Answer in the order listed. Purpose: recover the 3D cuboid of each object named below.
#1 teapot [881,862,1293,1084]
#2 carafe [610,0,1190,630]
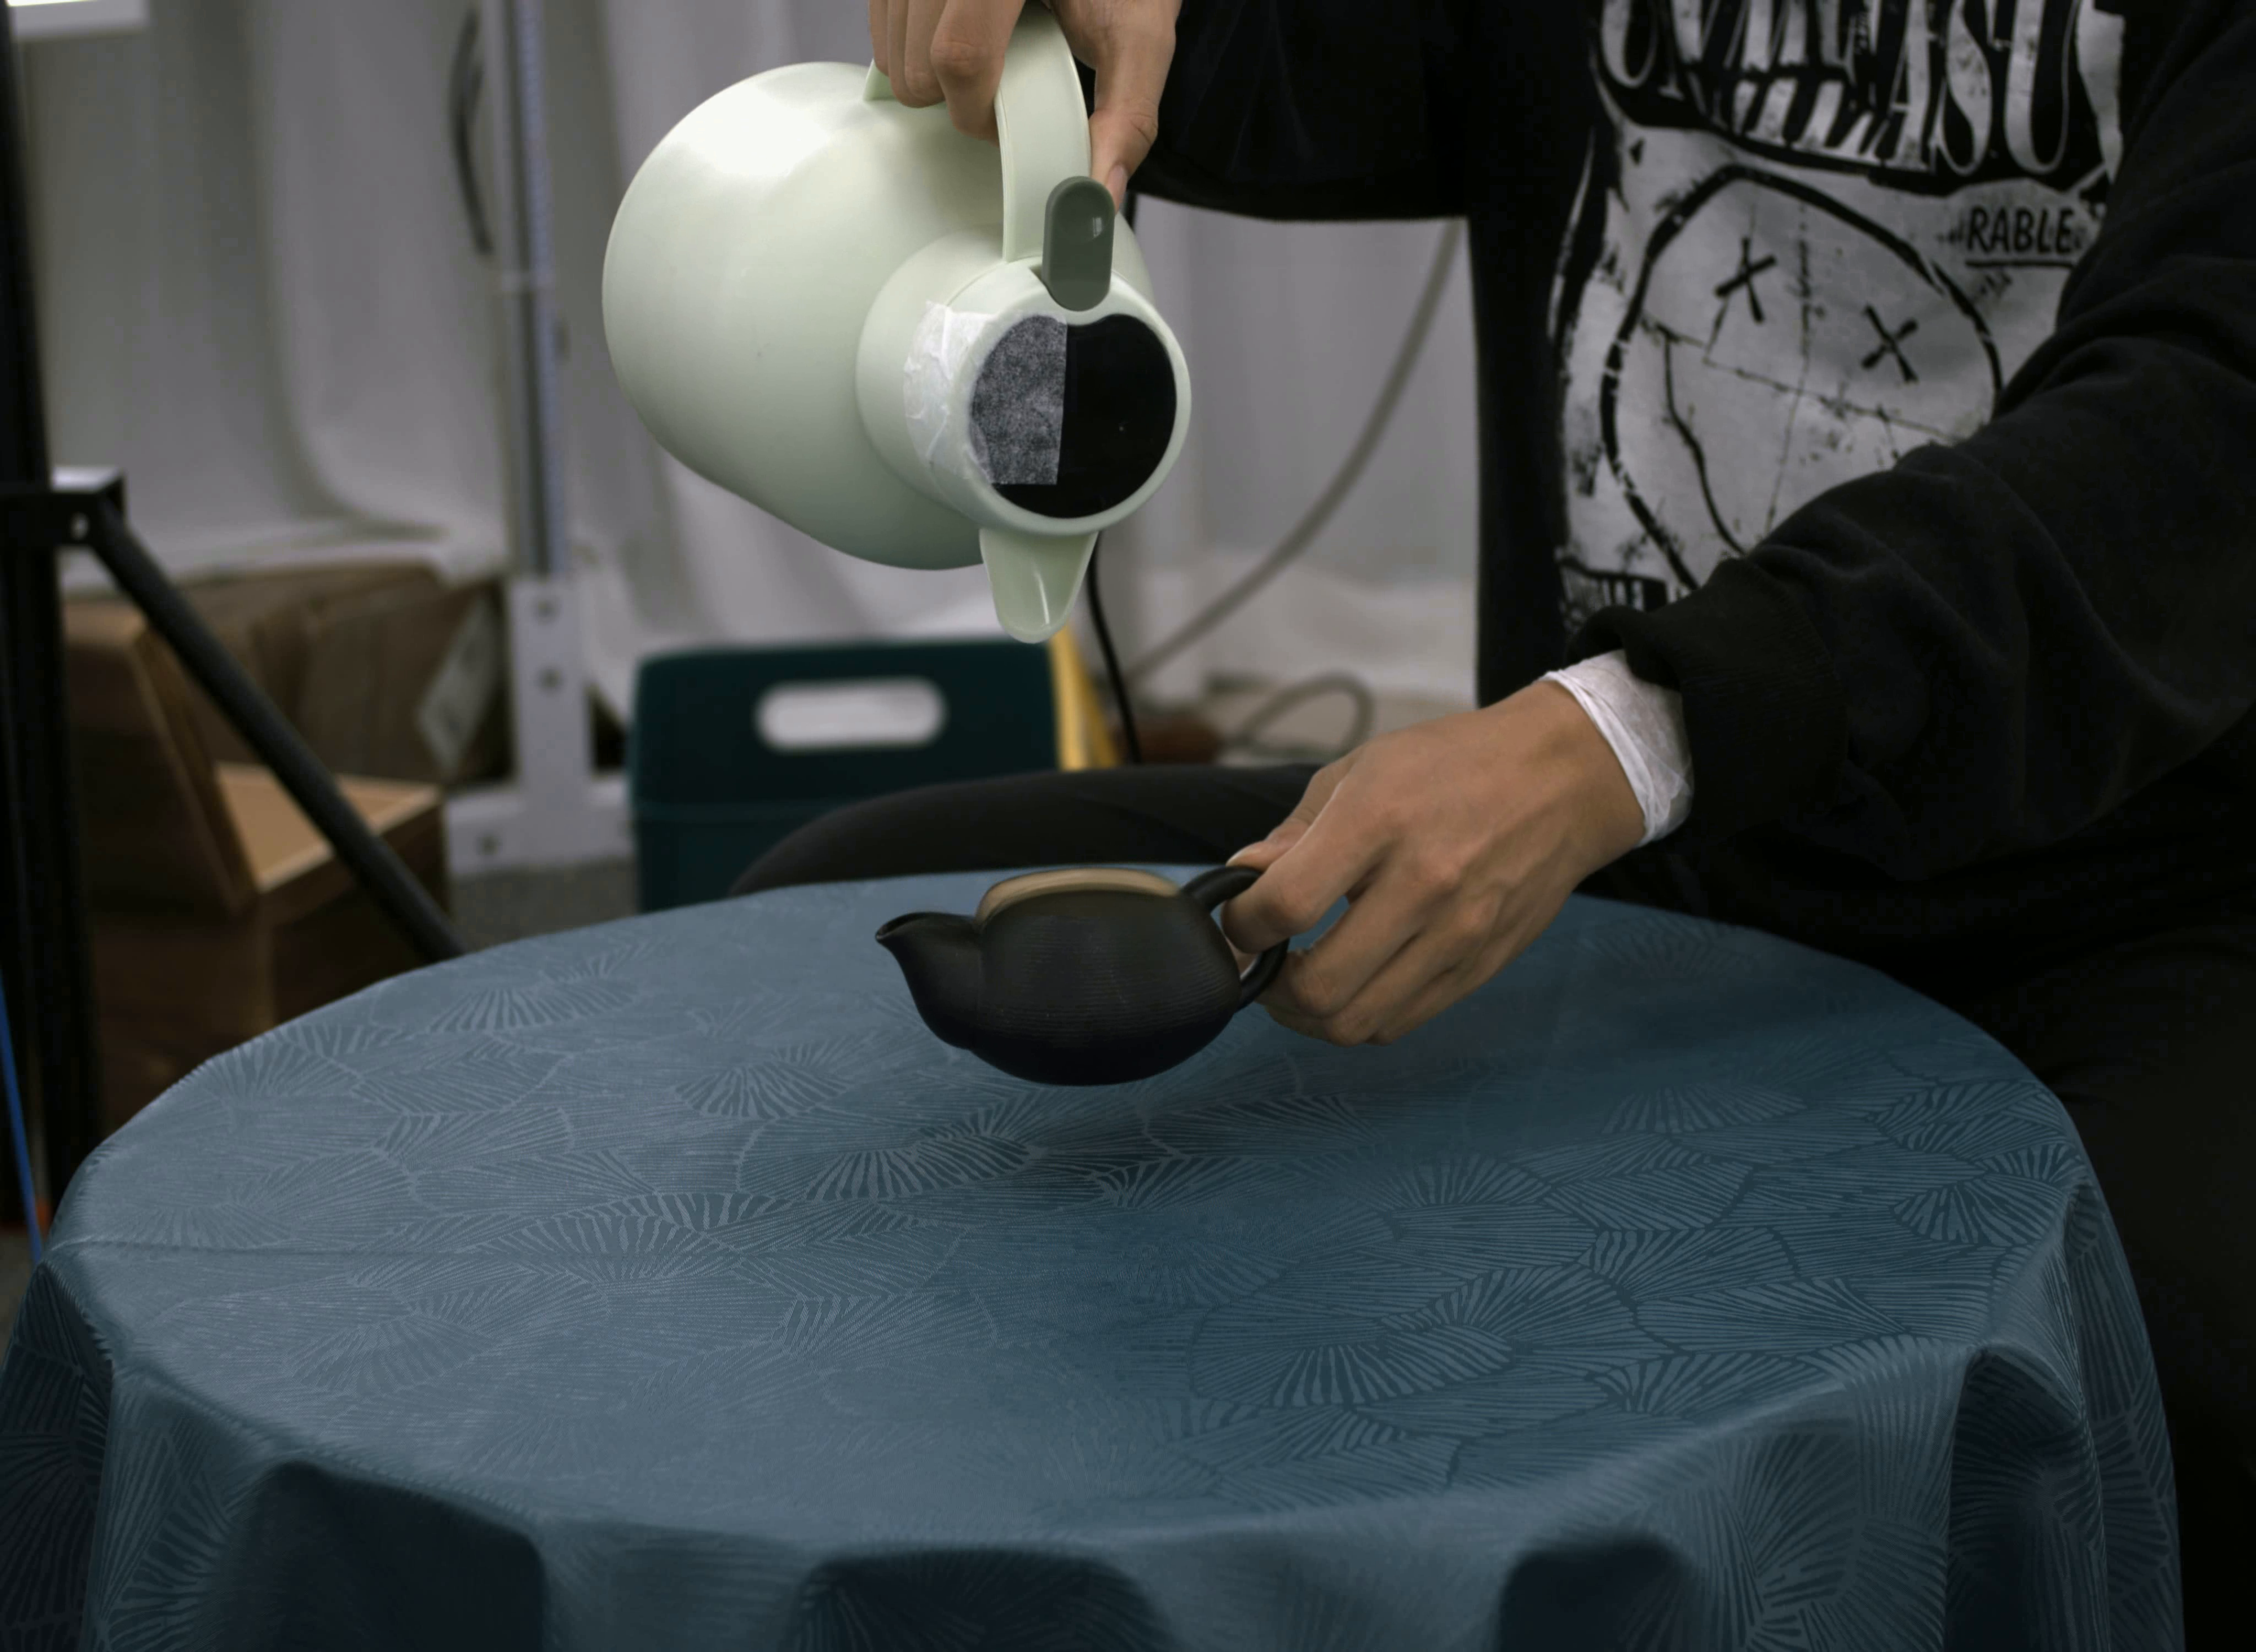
[{"bbox_3d":[-0.010,0.043,1.574,0.130,0.053,0.093,-9,17,-22],"label":"teapot"},{"bbox_3d":[-0.059,-0.166,1.630,0.141,0.187,0.261,0,10,-20],"label":"carafe"}]
